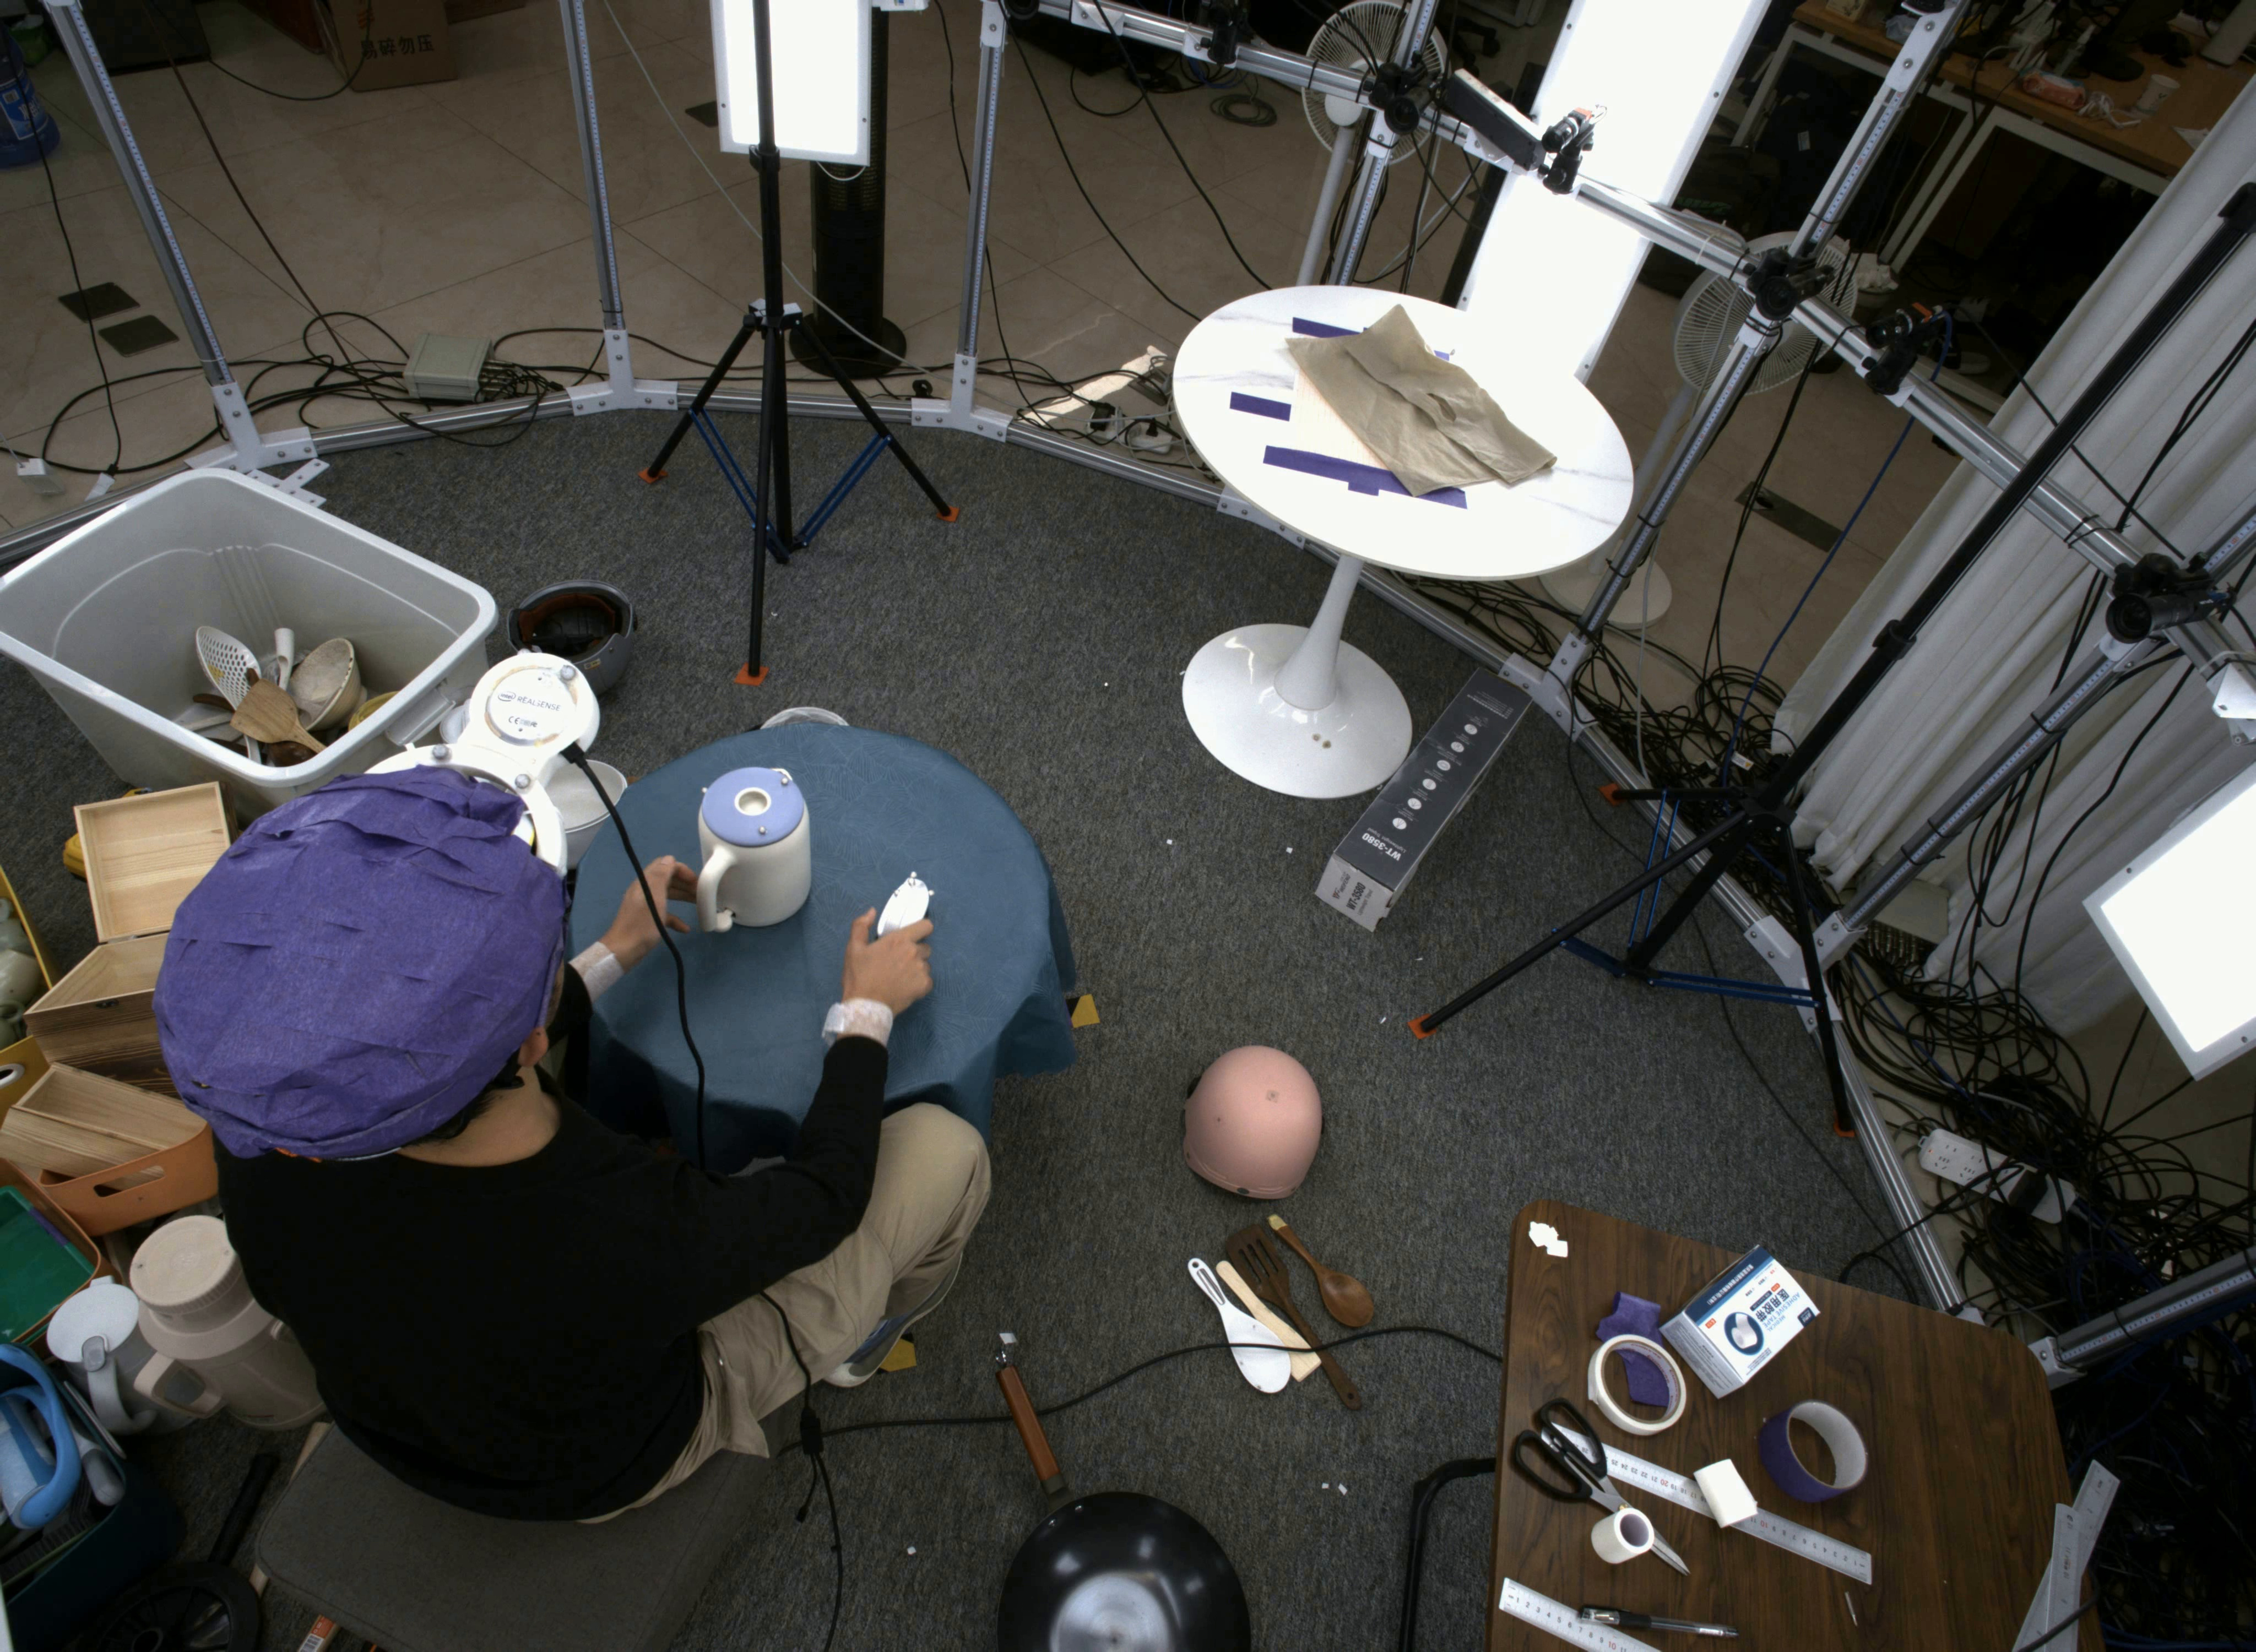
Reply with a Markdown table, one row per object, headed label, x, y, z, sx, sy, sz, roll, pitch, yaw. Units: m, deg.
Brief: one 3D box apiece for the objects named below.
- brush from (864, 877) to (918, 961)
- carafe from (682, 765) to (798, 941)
| label | x | y | z | sx | sy | sz | roll | pitch | yaw |
| --- | --- | --- | --- | --- | --- | --- | --- | --- | --- |
| brush | -0.295 | 0.107 | 1.625 | 0.050 | 0.074 | 0.098 | 19 | 51 | 3 |
| carafe | -0.480 | 0.043 | 1.561 | 0.130 | 0.186 | 0.189 | 21 | 52 | 4 |
